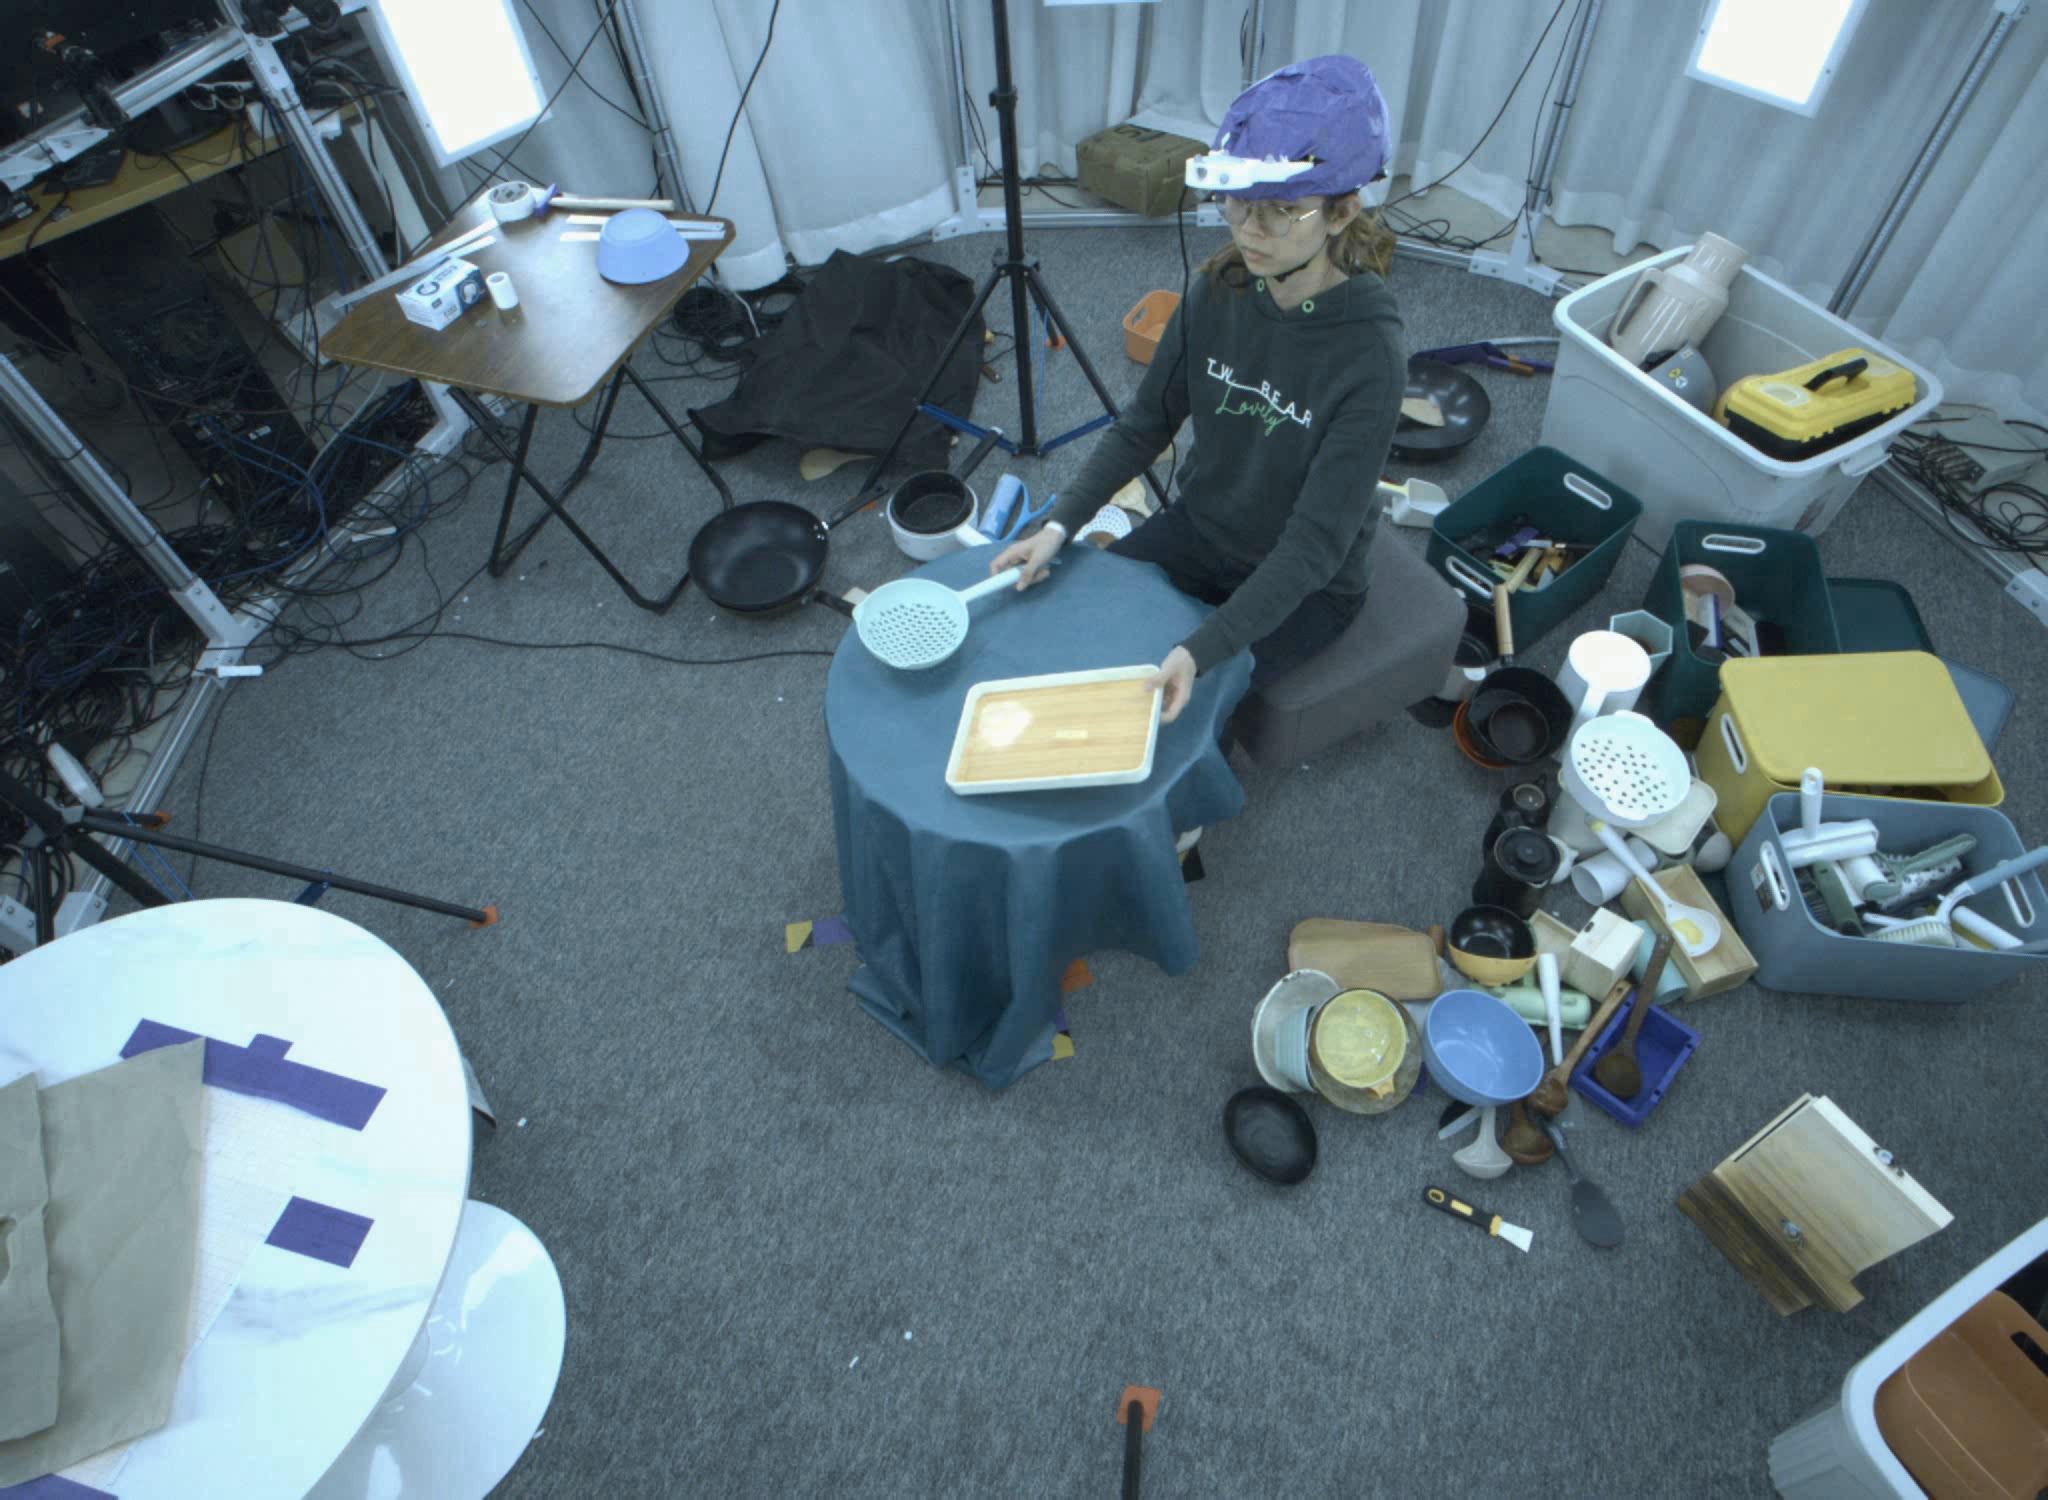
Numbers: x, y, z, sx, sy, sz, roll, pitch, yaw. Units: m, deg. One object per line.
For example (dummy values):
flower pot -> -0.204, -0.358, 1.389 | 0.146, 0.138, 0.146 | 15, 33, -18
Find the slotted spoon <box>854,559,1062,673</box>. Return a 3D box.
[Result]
slotted spoon -> -0.089, -0.229, 1.914 | 0.361, 0.076, 0.166 | -33, 66, -16

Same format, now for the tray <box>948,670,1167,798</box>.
tray -> 0.047, -0.023, 1.743 | 0.296, 0.028, 0.190 | -3, 53, 21
